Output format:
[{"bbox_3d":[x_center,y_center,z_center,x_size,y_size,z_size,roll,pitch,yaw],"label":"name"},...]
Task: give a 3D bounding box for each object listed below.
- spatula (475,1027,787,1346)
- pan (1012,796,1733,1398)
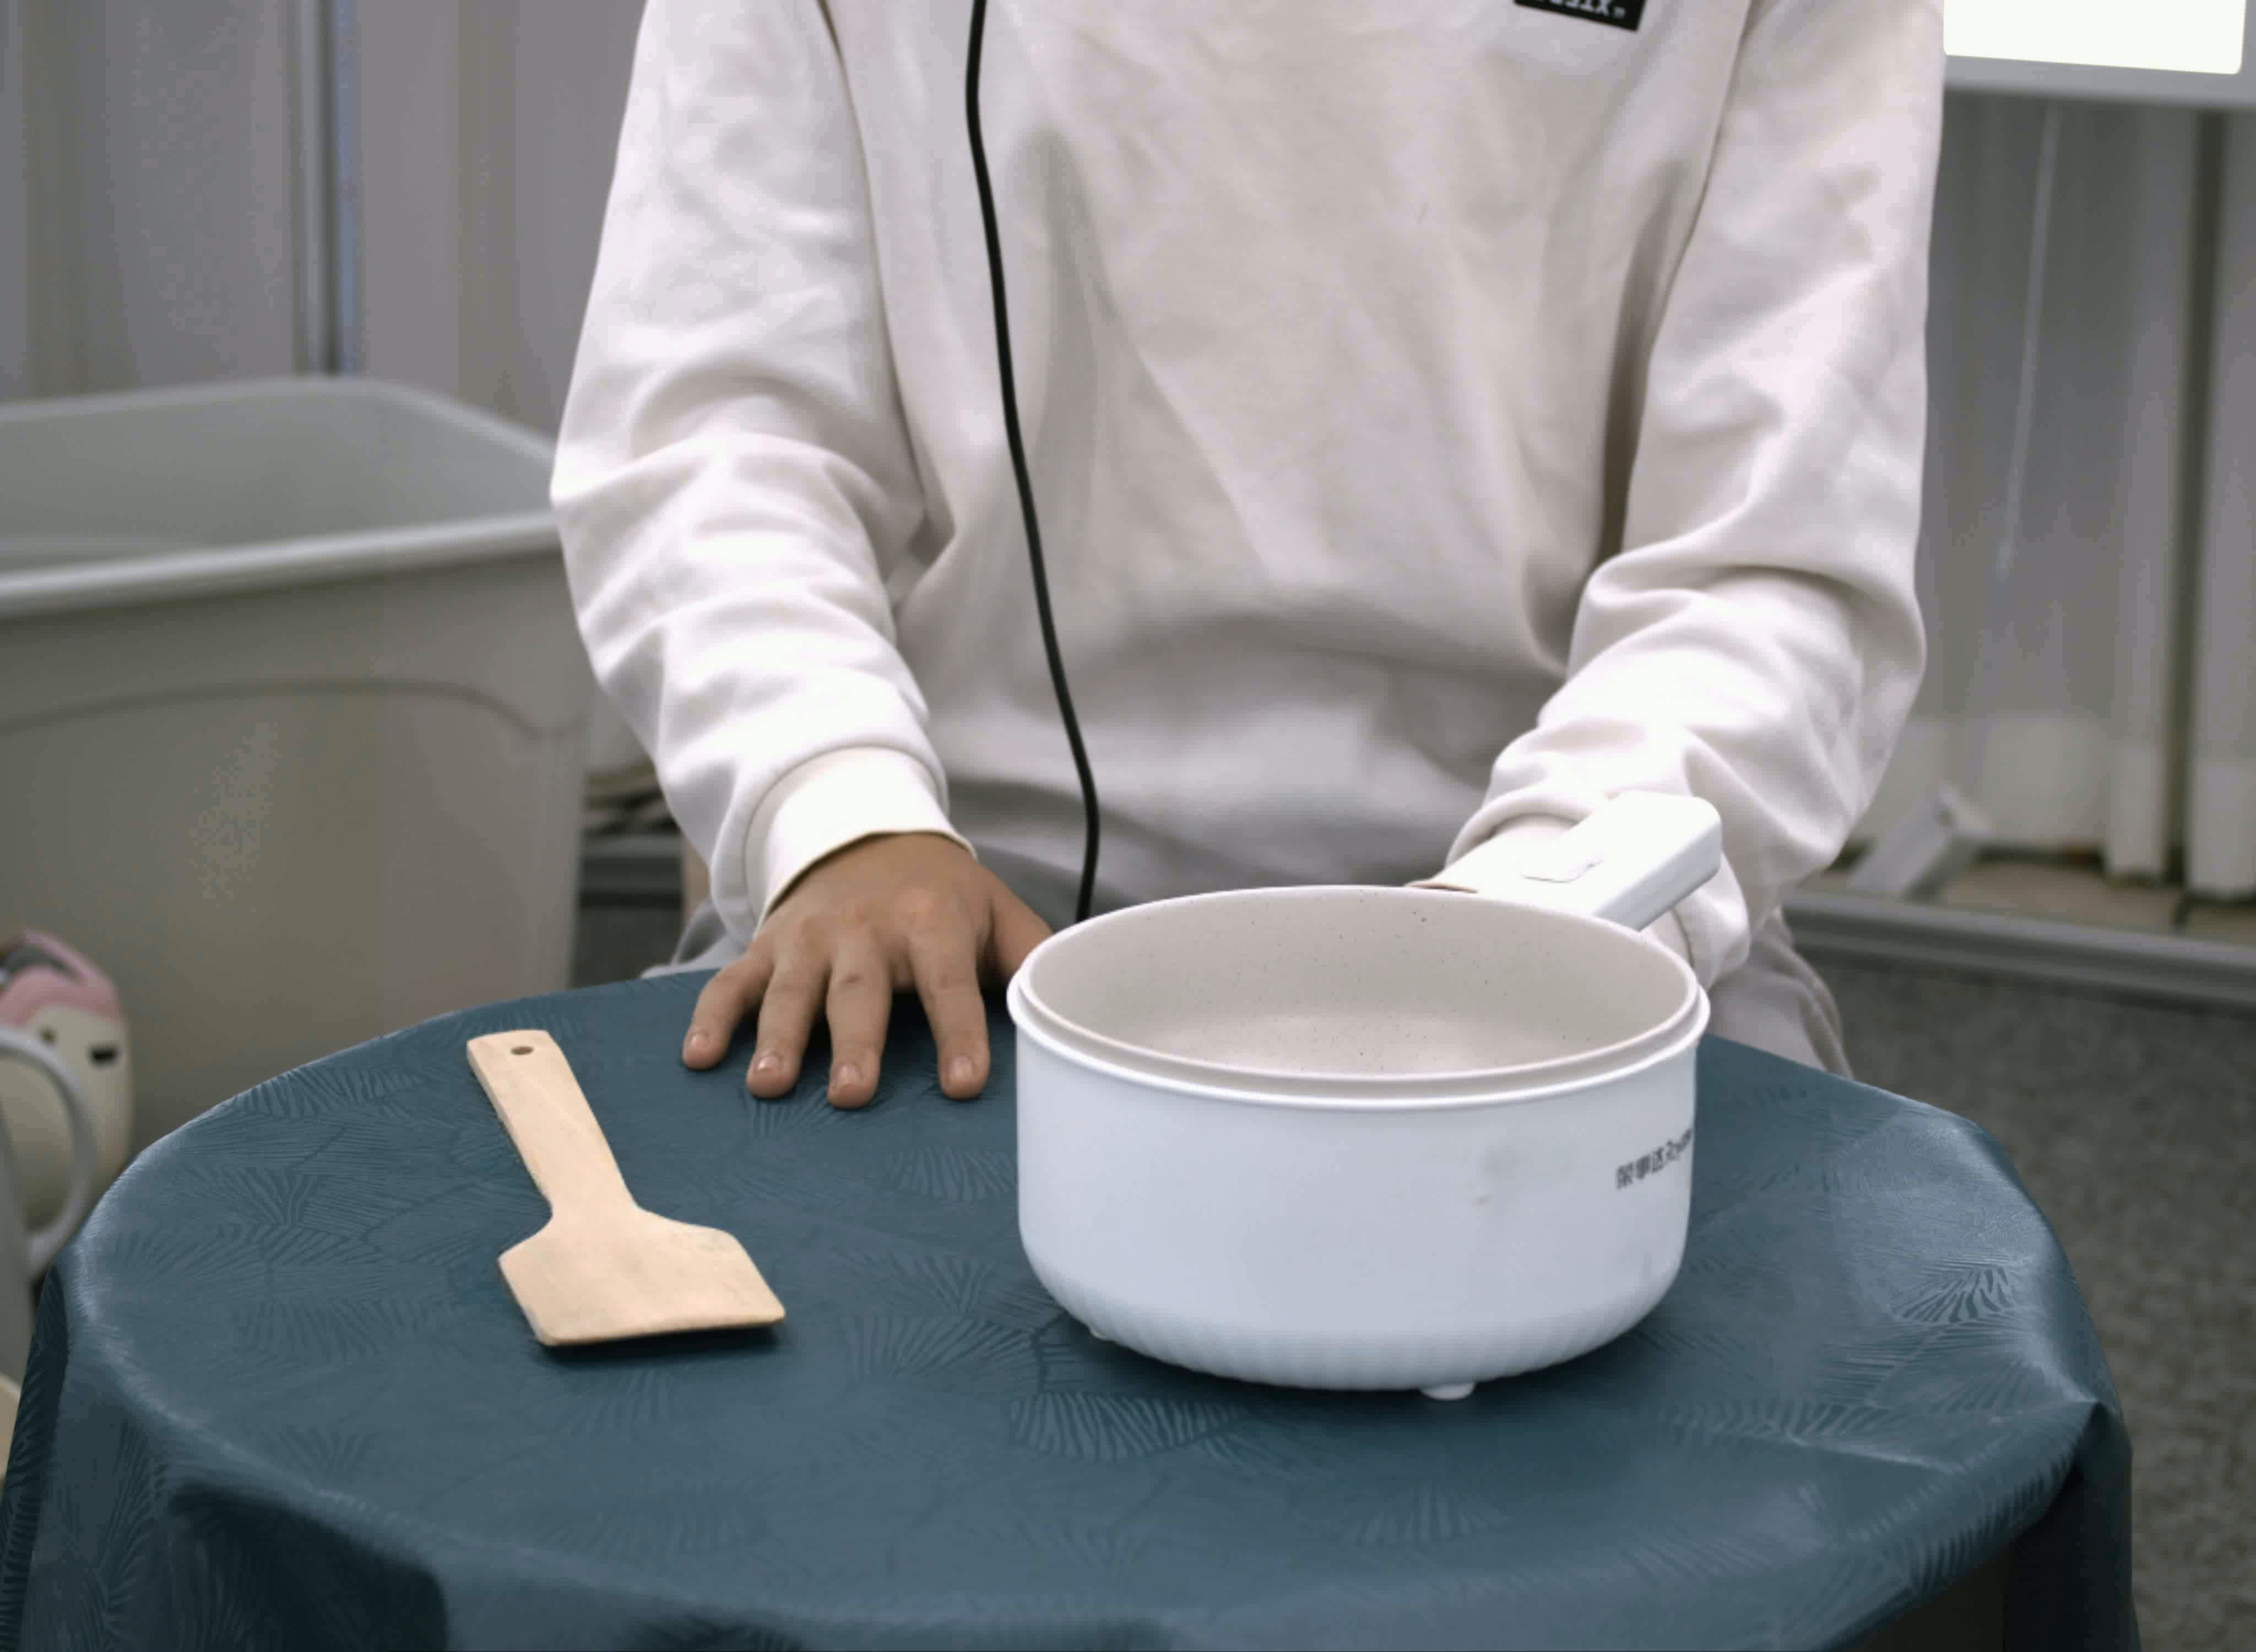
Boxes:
[{"bbox_3d":[-0.168,0.108,1.622,0.072,0.011,0.290,-5,16,-15],"label":"spatula"},{"bbox_3d":[0.100,0.075,1.587,0.199,0.103,0.356,8,16,25],"label":"pan"}]
